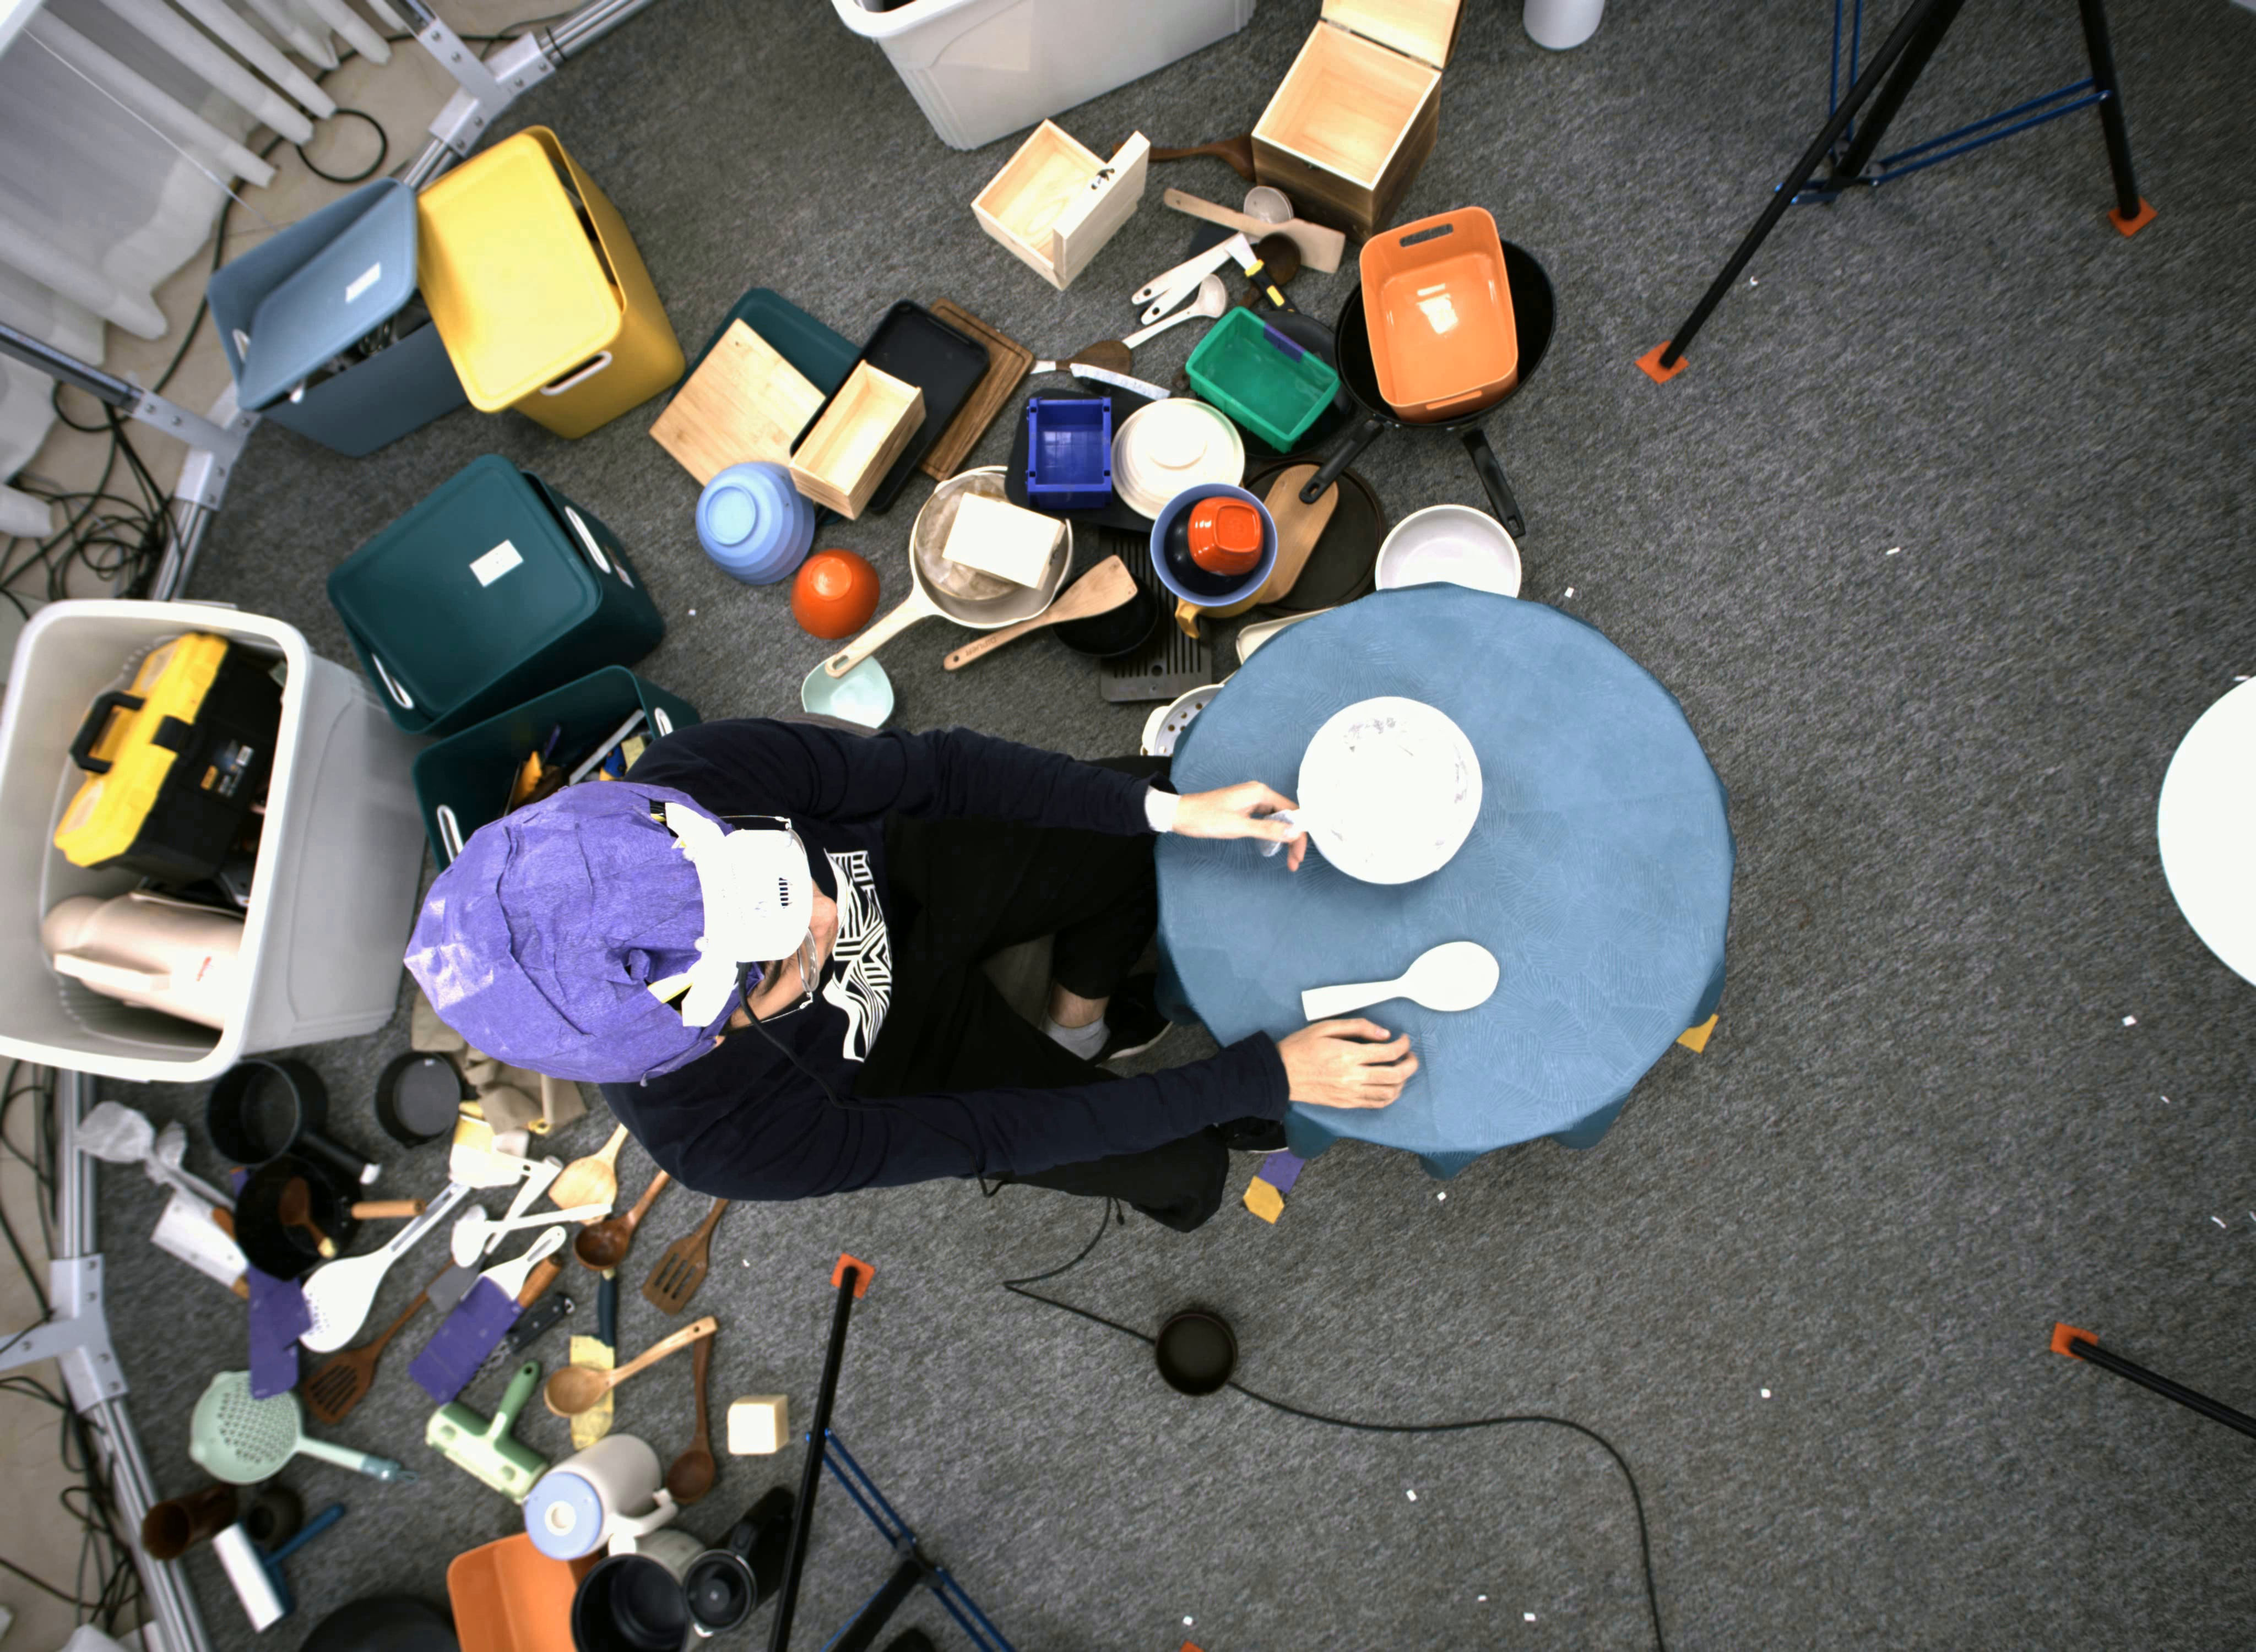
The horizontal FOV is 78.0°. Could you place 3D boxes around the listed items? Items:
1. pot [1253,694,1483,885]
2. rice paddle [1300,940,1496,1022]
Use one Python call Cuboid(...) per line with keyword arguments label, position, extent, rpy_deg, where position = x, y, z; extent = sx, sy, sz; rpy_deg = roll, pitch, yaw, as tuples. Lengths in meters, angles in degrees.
Cuboid(label="pot", position=(0.238, -0.024, 1.401), extent=(0.235, 0.137, 0.177), rpy_deg=(-20, 80, 8))
Cuboid(label="rice paddle", position=(0.281, 0.165, 1.438), extent=(0.206, 0.029, 0.068), rpy_deg=(-14, 86, 10))
